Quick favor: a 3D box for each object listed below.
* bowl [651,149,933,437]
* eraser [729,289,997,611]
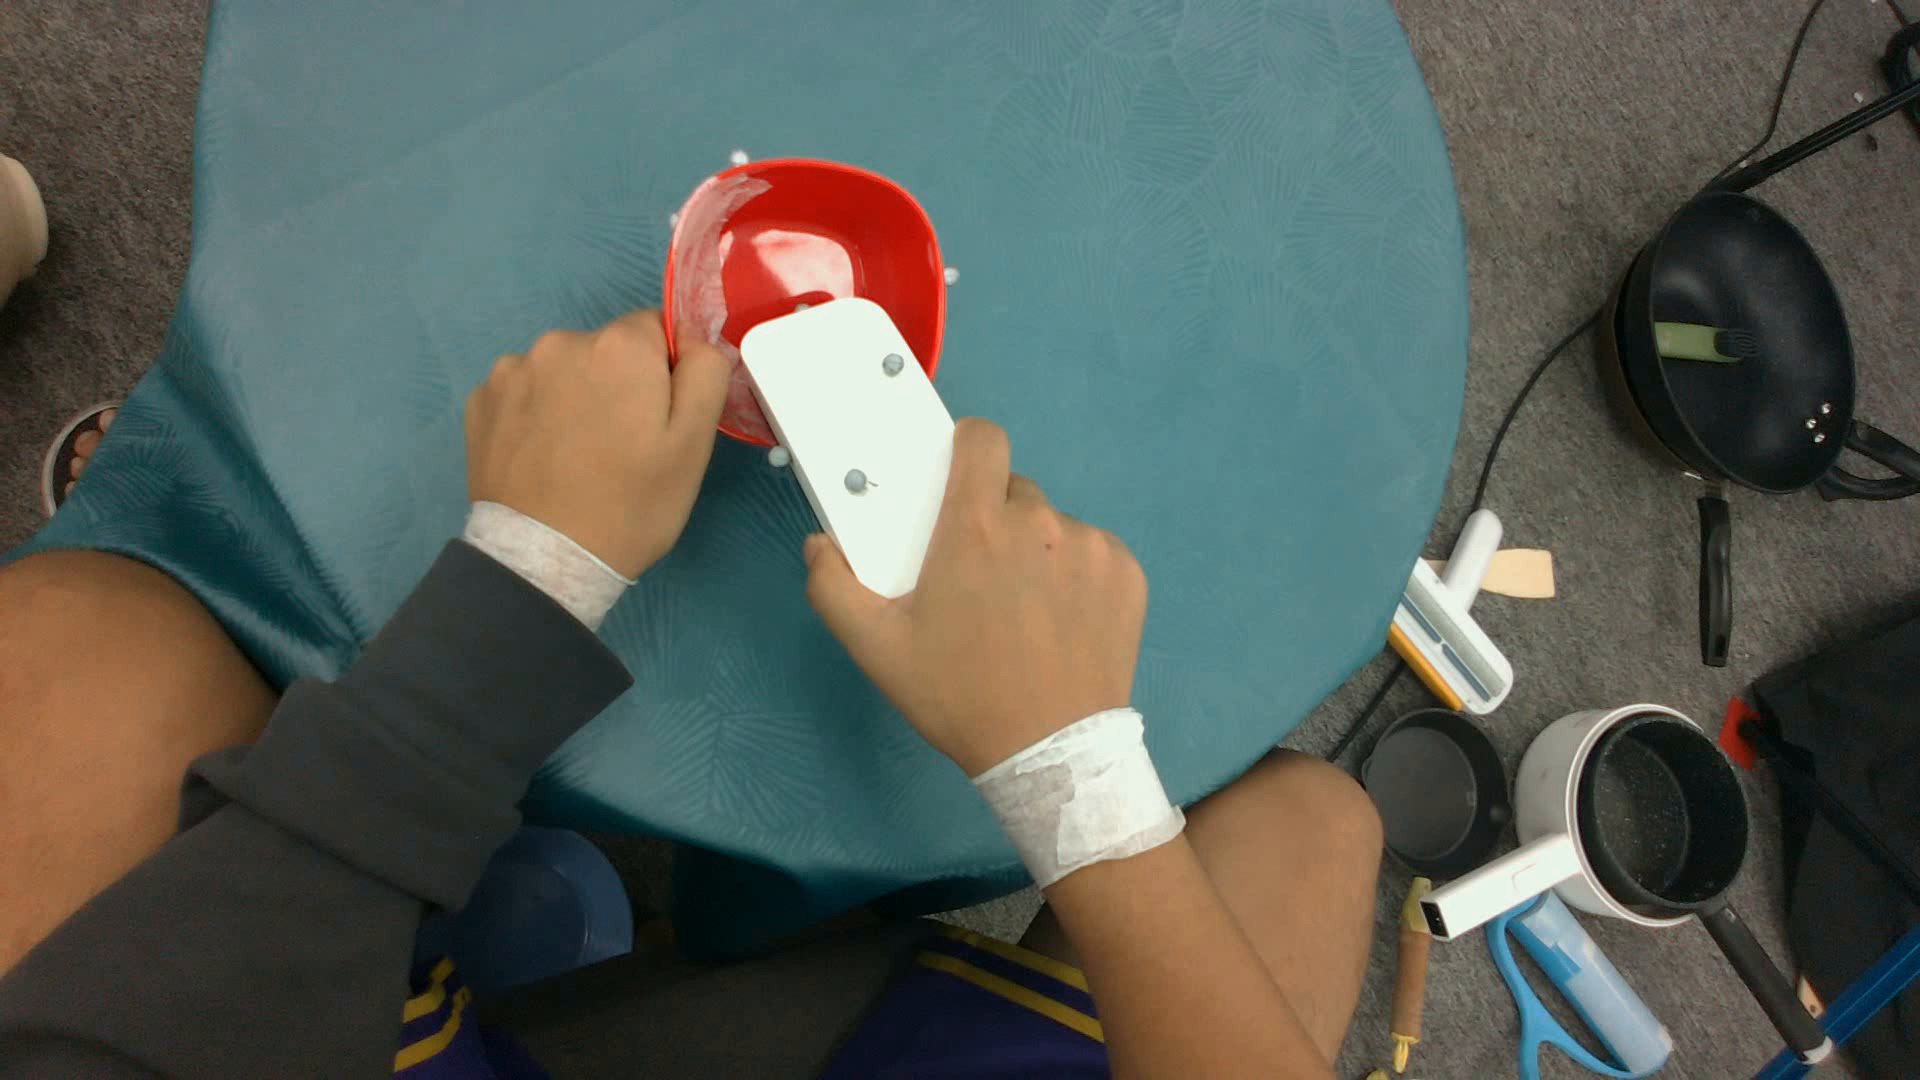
[{"bbox_3d":[-0.071,-0.099,0.550,0.119,0.051,0.118,-5,105,-20],"label":"bowl"},{"bbox_3d":[-0.039,-0.037,0.522,0.063,0.034,0.131,-21,67,-18],"label":"eraser"}]
